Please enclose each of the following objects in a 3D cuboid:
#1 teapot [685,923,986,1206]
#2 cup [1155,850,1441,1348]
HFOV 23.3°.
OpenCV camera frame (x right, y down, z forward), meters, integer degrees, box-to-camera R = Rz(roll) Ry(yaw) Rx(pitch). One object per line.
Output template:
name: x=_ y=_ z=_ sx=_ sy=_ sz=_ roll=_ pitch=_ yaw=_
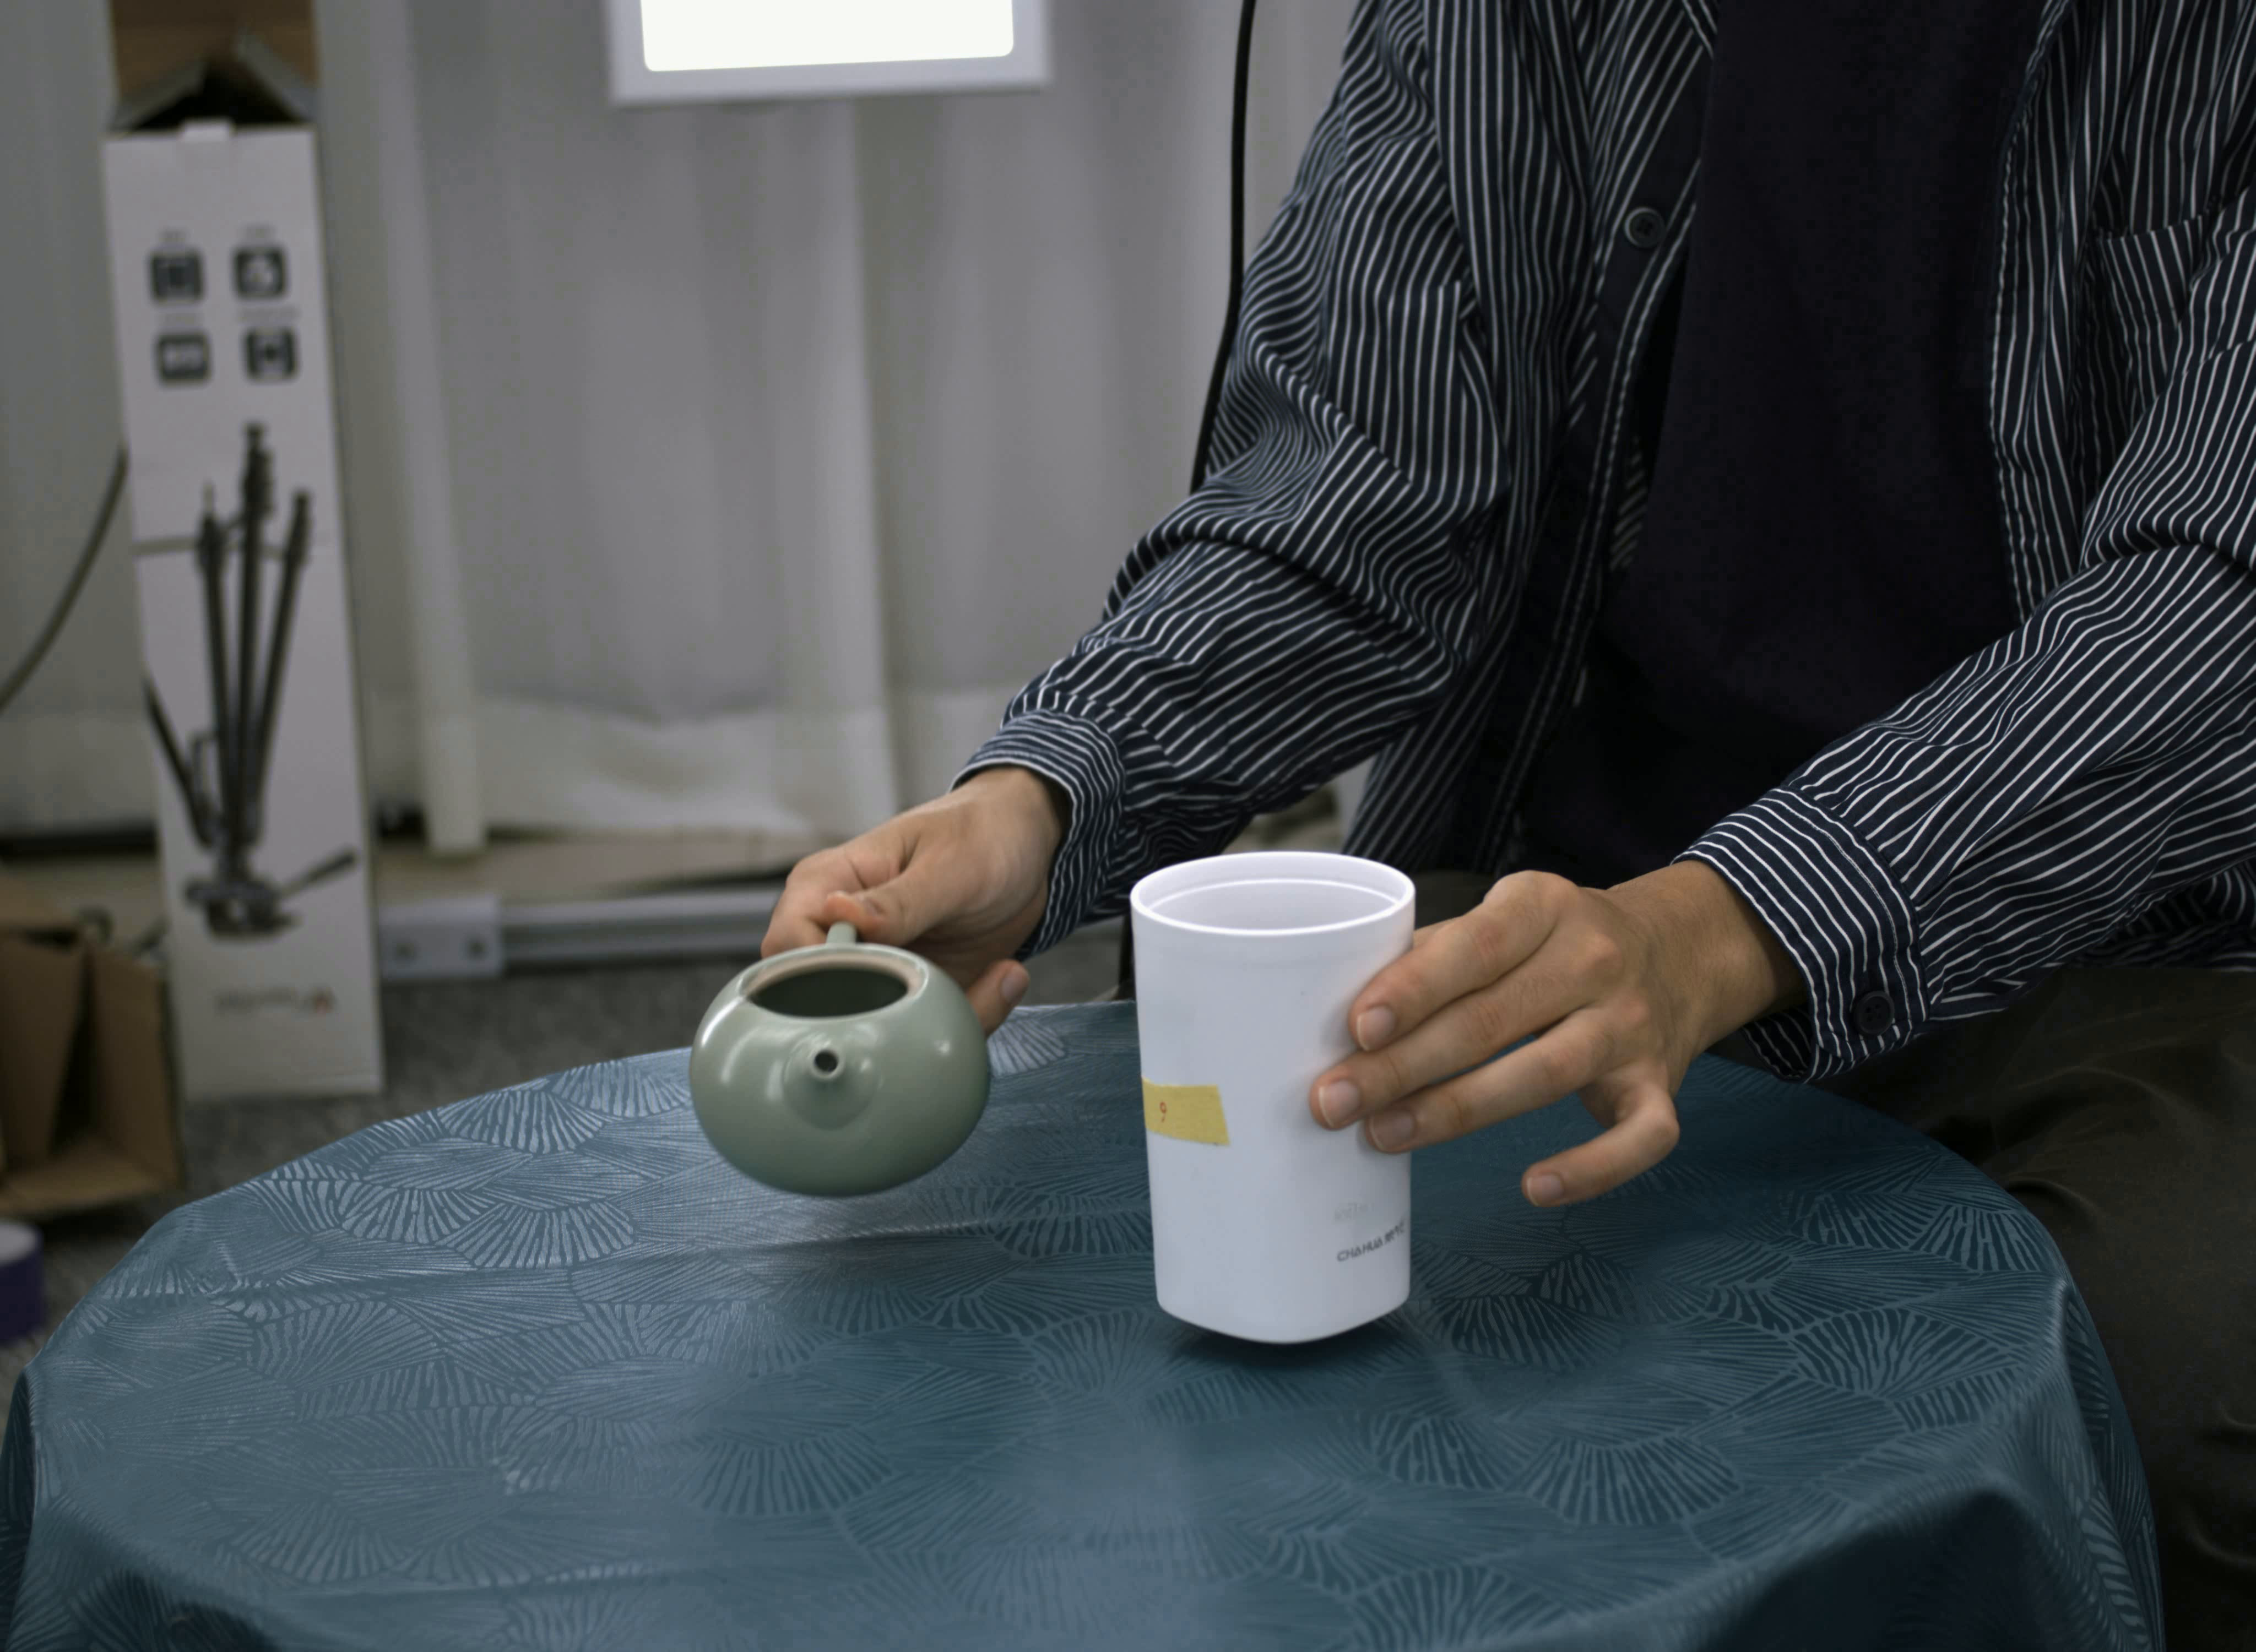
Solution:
teapot: x=-0.088 y=0.073 z=1.670 sx=0.091 sy=0.060 sz=0.129 roll=-4 pitch=22 yaw=7
cup: x=0.050 y=0.078 z=1.560 sx=0.081 sy=0.125 sz=0.082 roll=-2 pitch=15 yaw=0
